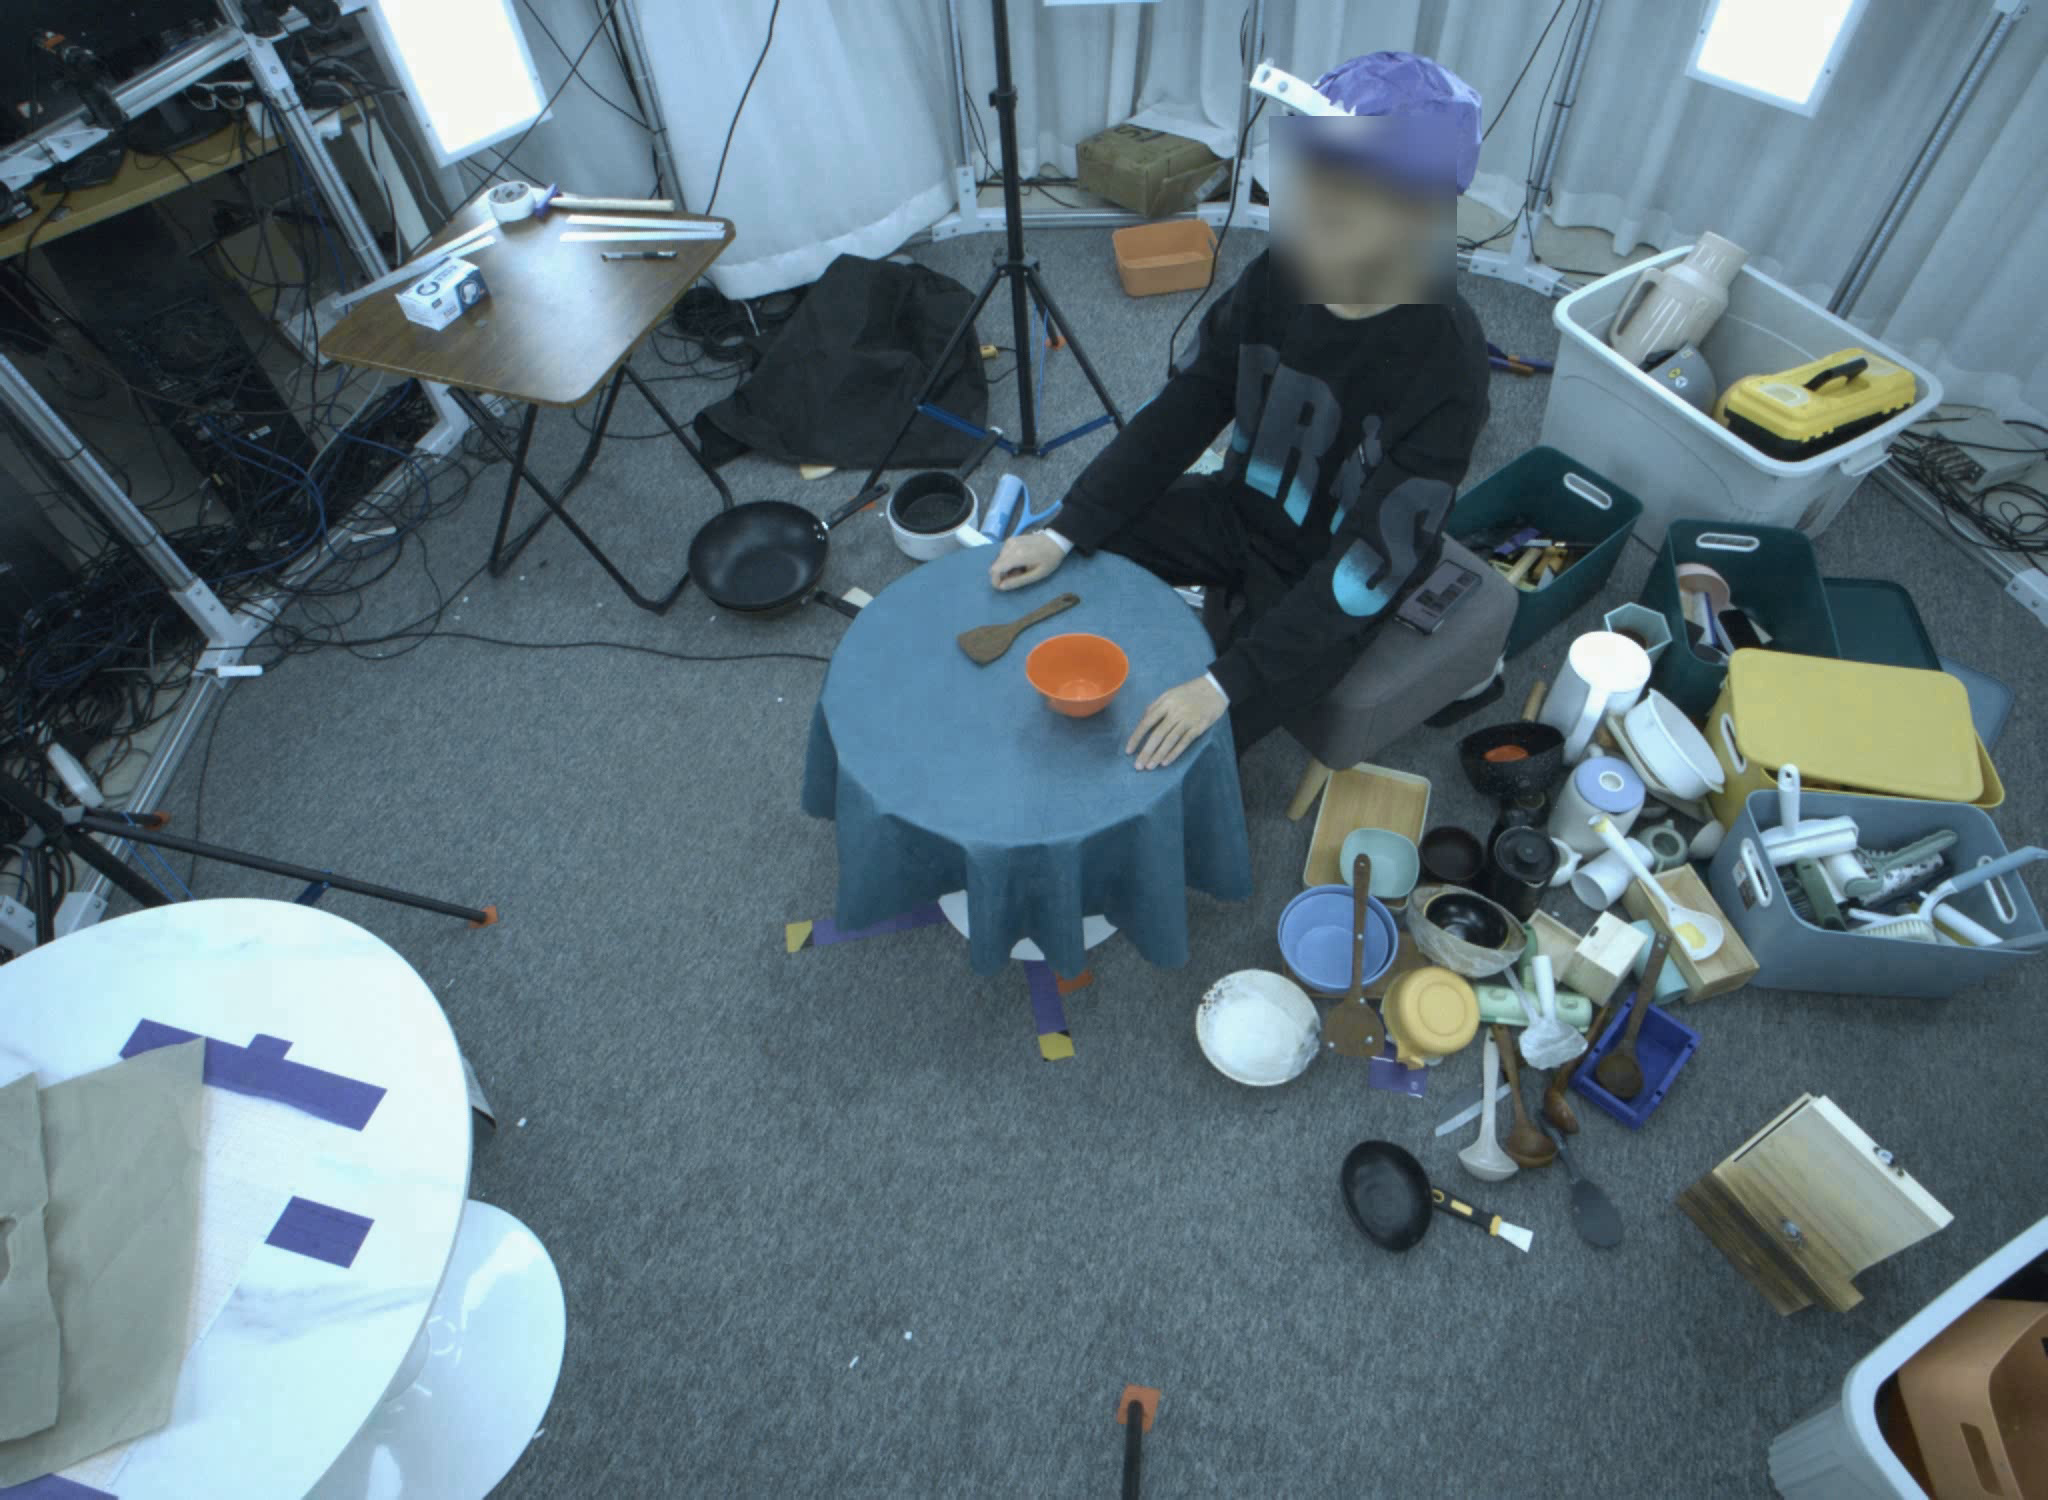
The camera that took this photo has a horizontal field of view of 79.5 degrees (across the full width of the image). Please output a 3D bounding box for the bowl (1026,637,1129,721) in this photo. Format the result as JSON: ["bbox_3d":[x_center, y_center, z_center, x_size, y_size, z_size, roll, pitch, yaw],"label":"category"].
[{"bbox_3d":[0.079,-0.090,1.798,0.148,0.106,0.146,-1,53,2],"label":"bowl"}]

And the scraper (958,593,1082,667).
[{"bbox_3d":[-0.001,-0.195,1.930,0.213,0.011,0.074,-29,60,-18],"label":"scraper"}]
